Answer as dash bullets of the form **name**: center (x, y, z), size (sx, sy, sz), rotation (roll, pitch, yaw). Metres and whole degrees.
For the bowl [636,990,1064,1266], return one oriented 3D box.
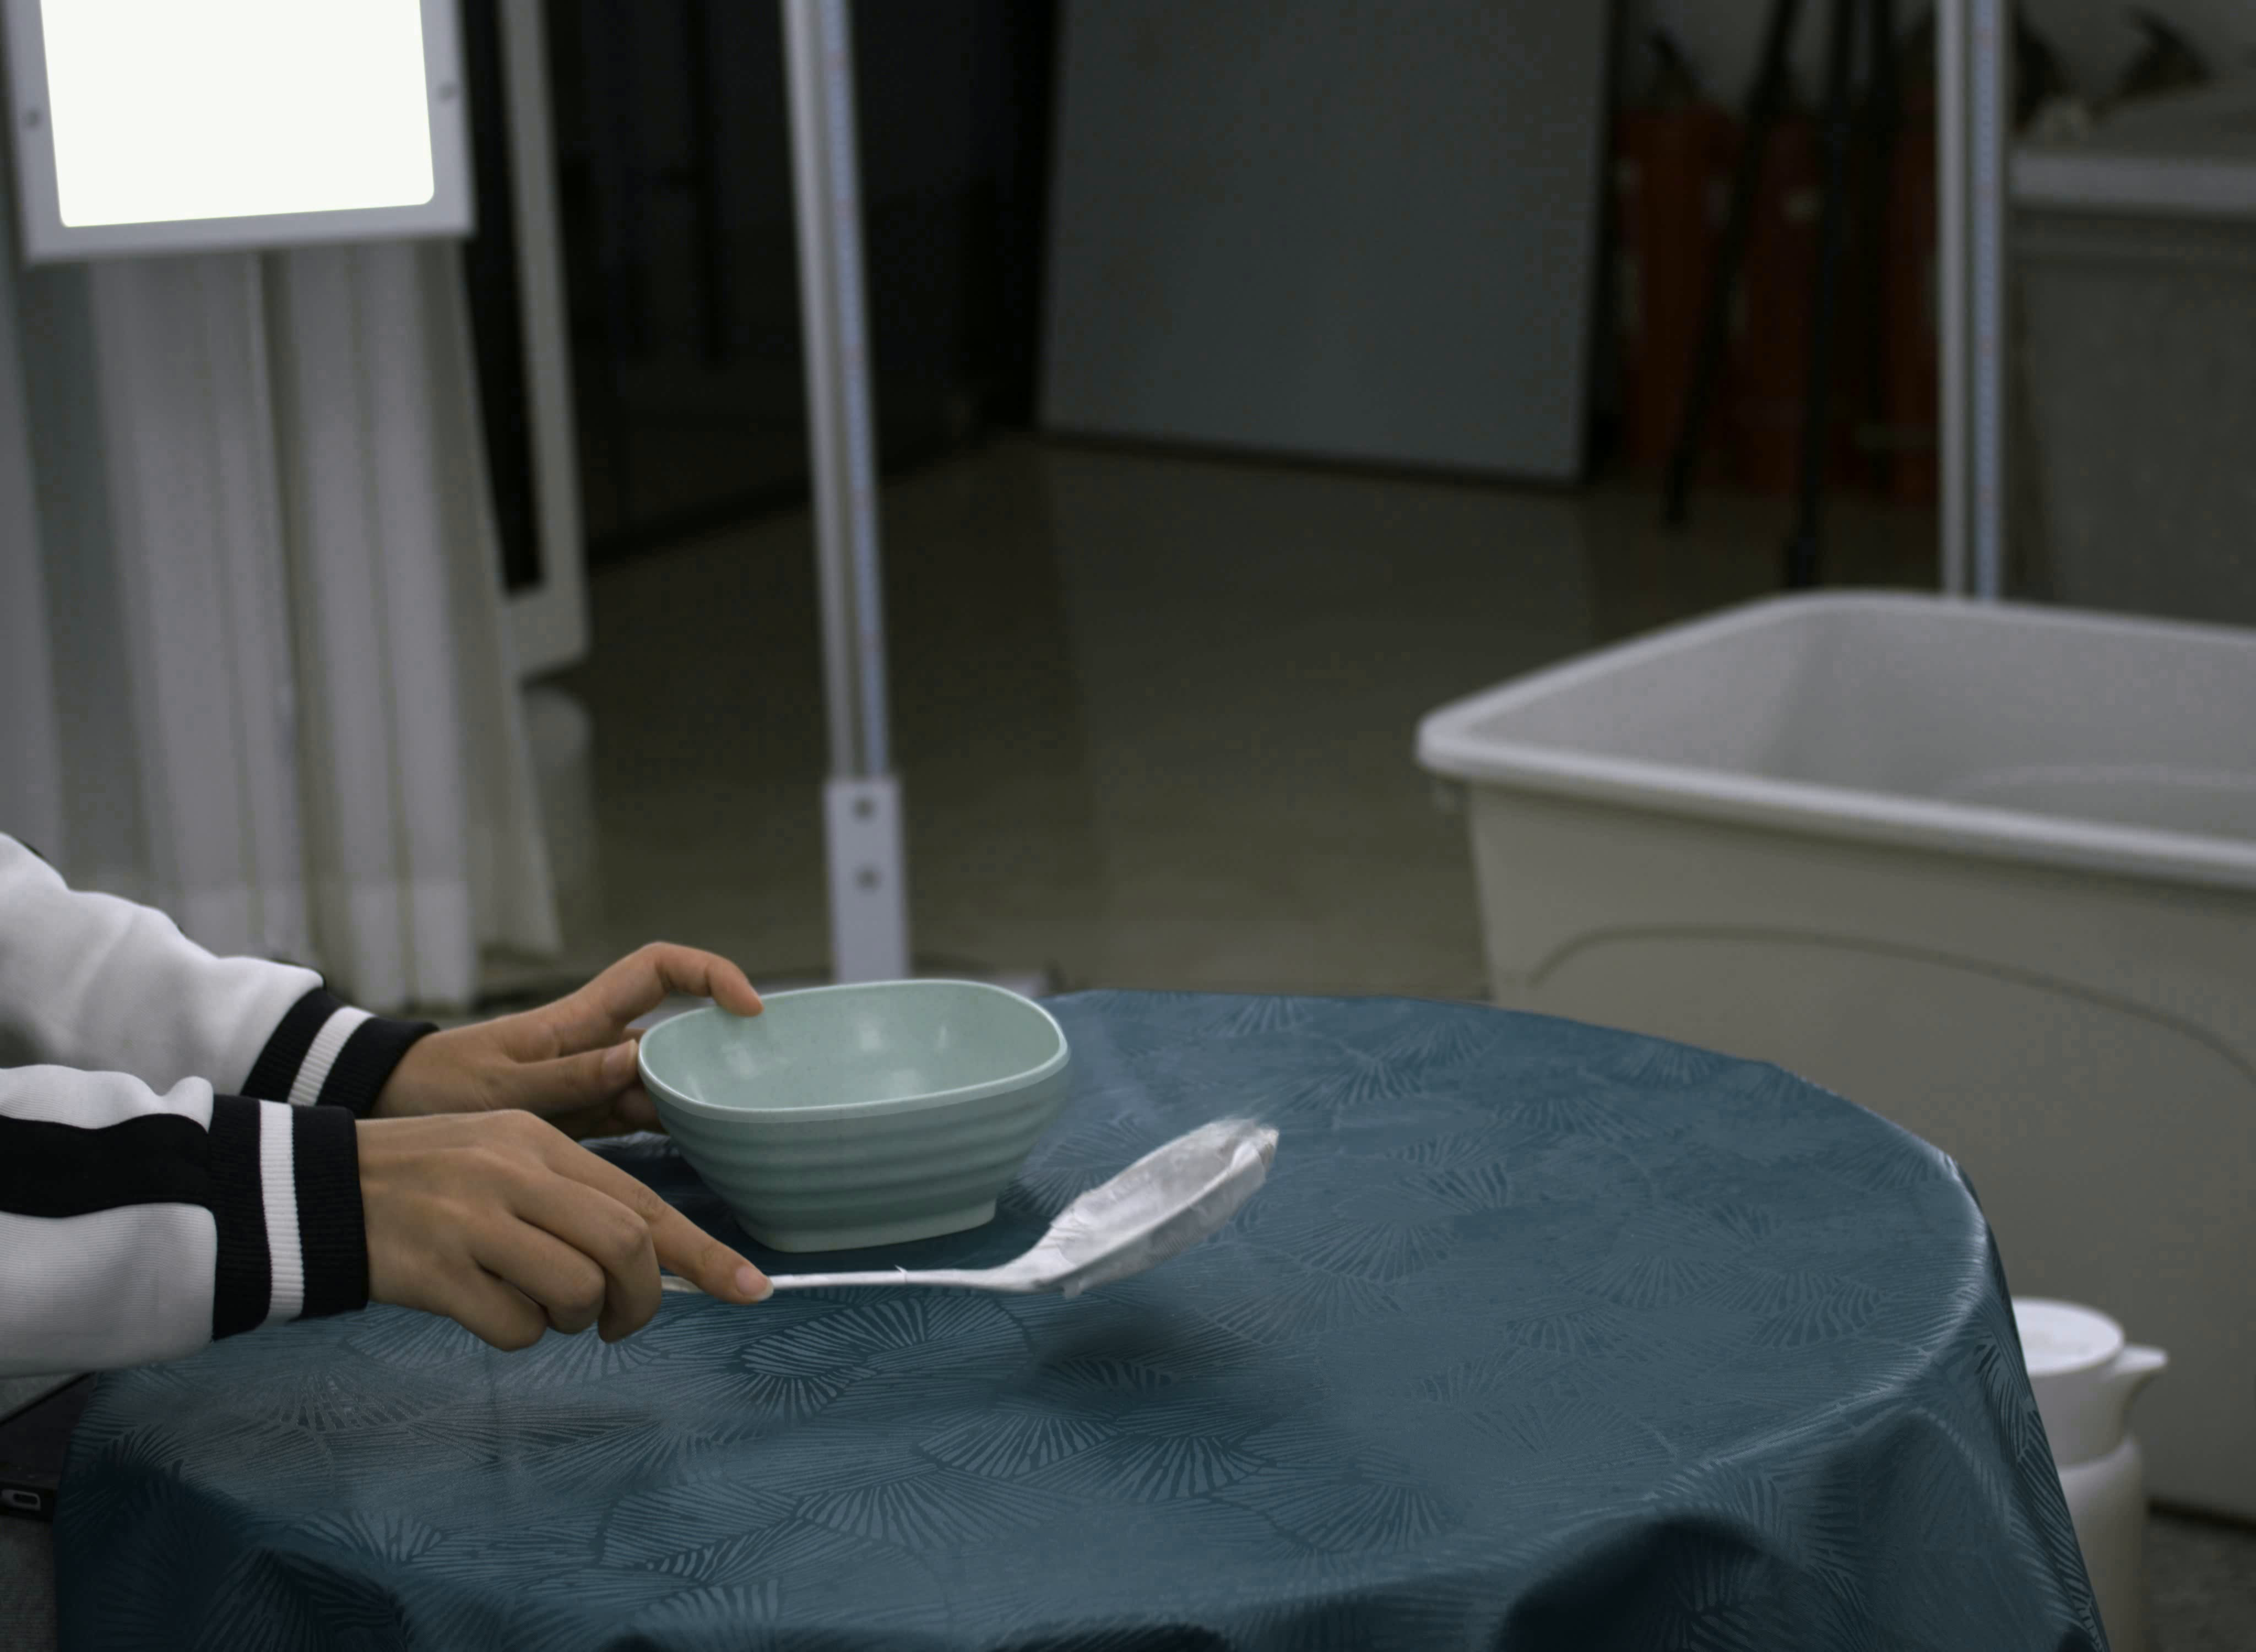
- **bowl**: center (-0.089, 0.101, 1.767), size (0.149, 0.059, 0.152), rotation (-4, 14, 0)

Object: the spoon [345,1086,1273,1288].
- **spoon**: center (-0.093, 0.107, 1.604), size (0.273, 0.060, 0.101), rotation (0, -2, -5)
